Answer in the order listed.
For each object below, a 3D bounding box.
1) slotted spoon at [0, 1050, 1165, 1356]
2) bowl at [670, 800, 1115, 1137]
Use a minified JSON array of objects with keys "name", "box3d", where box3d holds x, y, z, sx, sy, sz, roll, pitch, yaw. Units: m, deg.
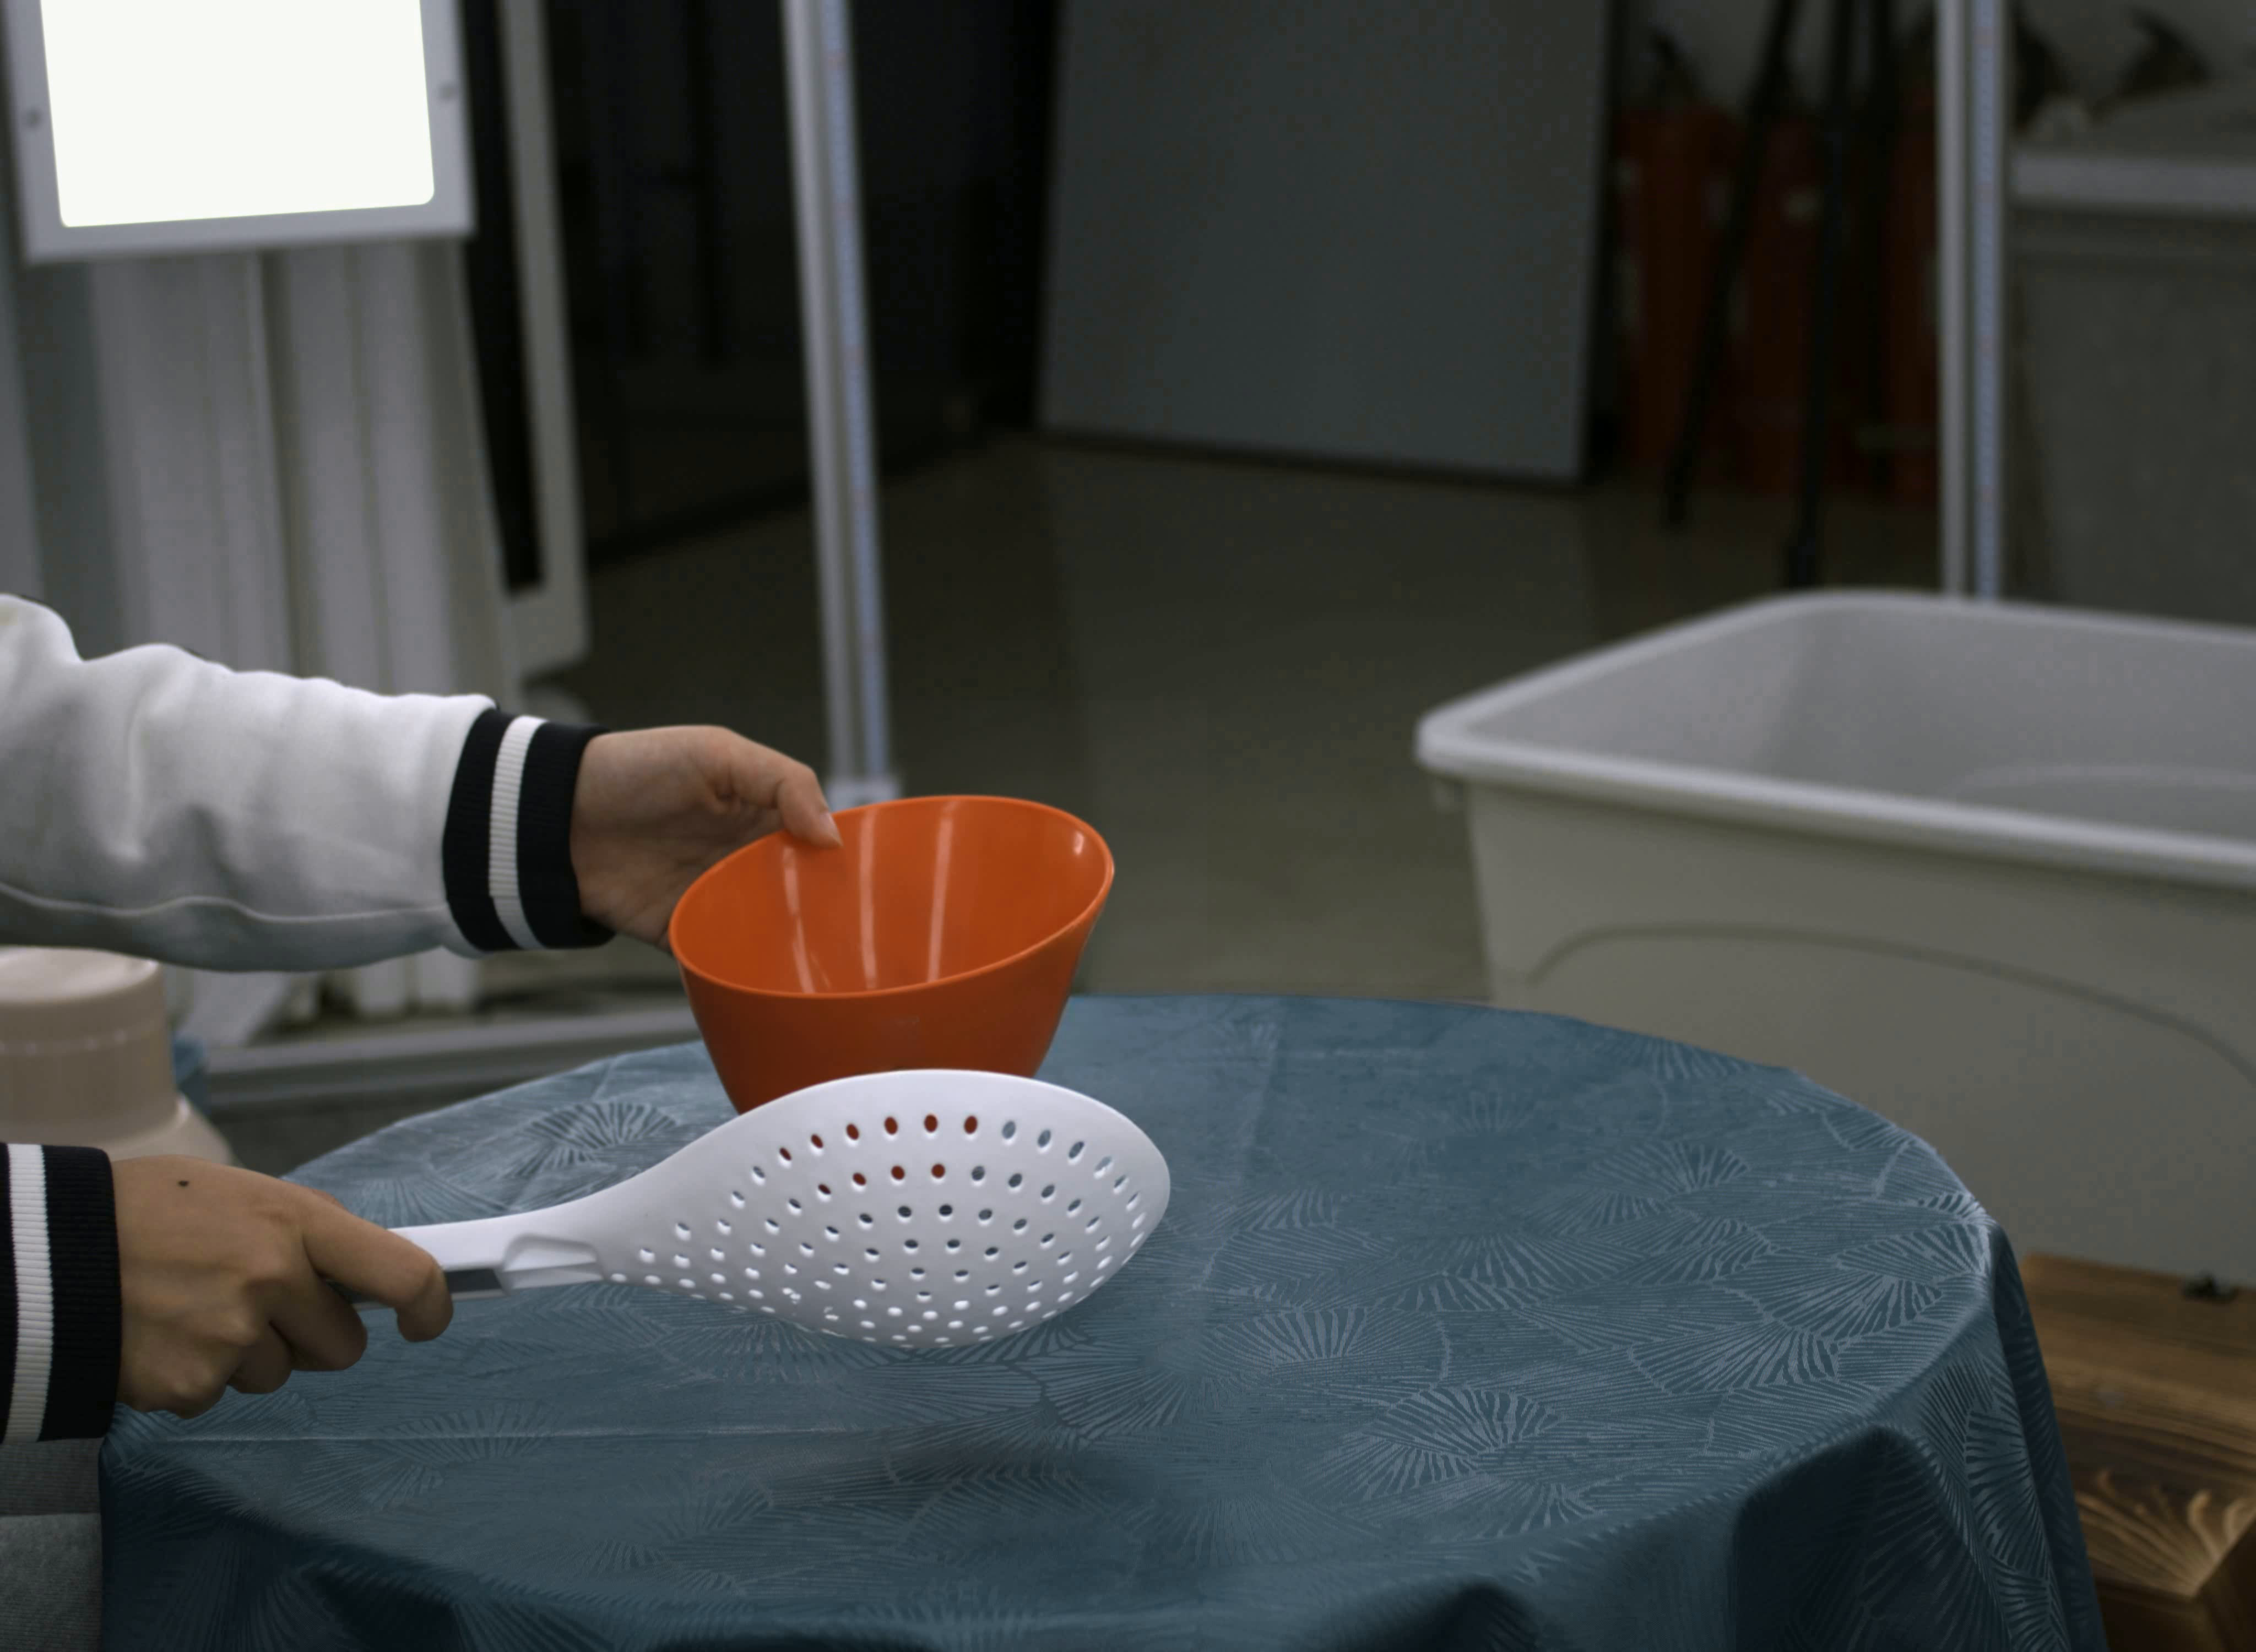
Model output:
[{"name":"slotted spoon","box3d":[-0.162,0.118,1.517,0.347,0.136,0.046,-3,55,11]},{"name":"bowl","box3d":[-0.075,0.063,1.773,0.146,0.106,0.148,-2,18,0]}]
